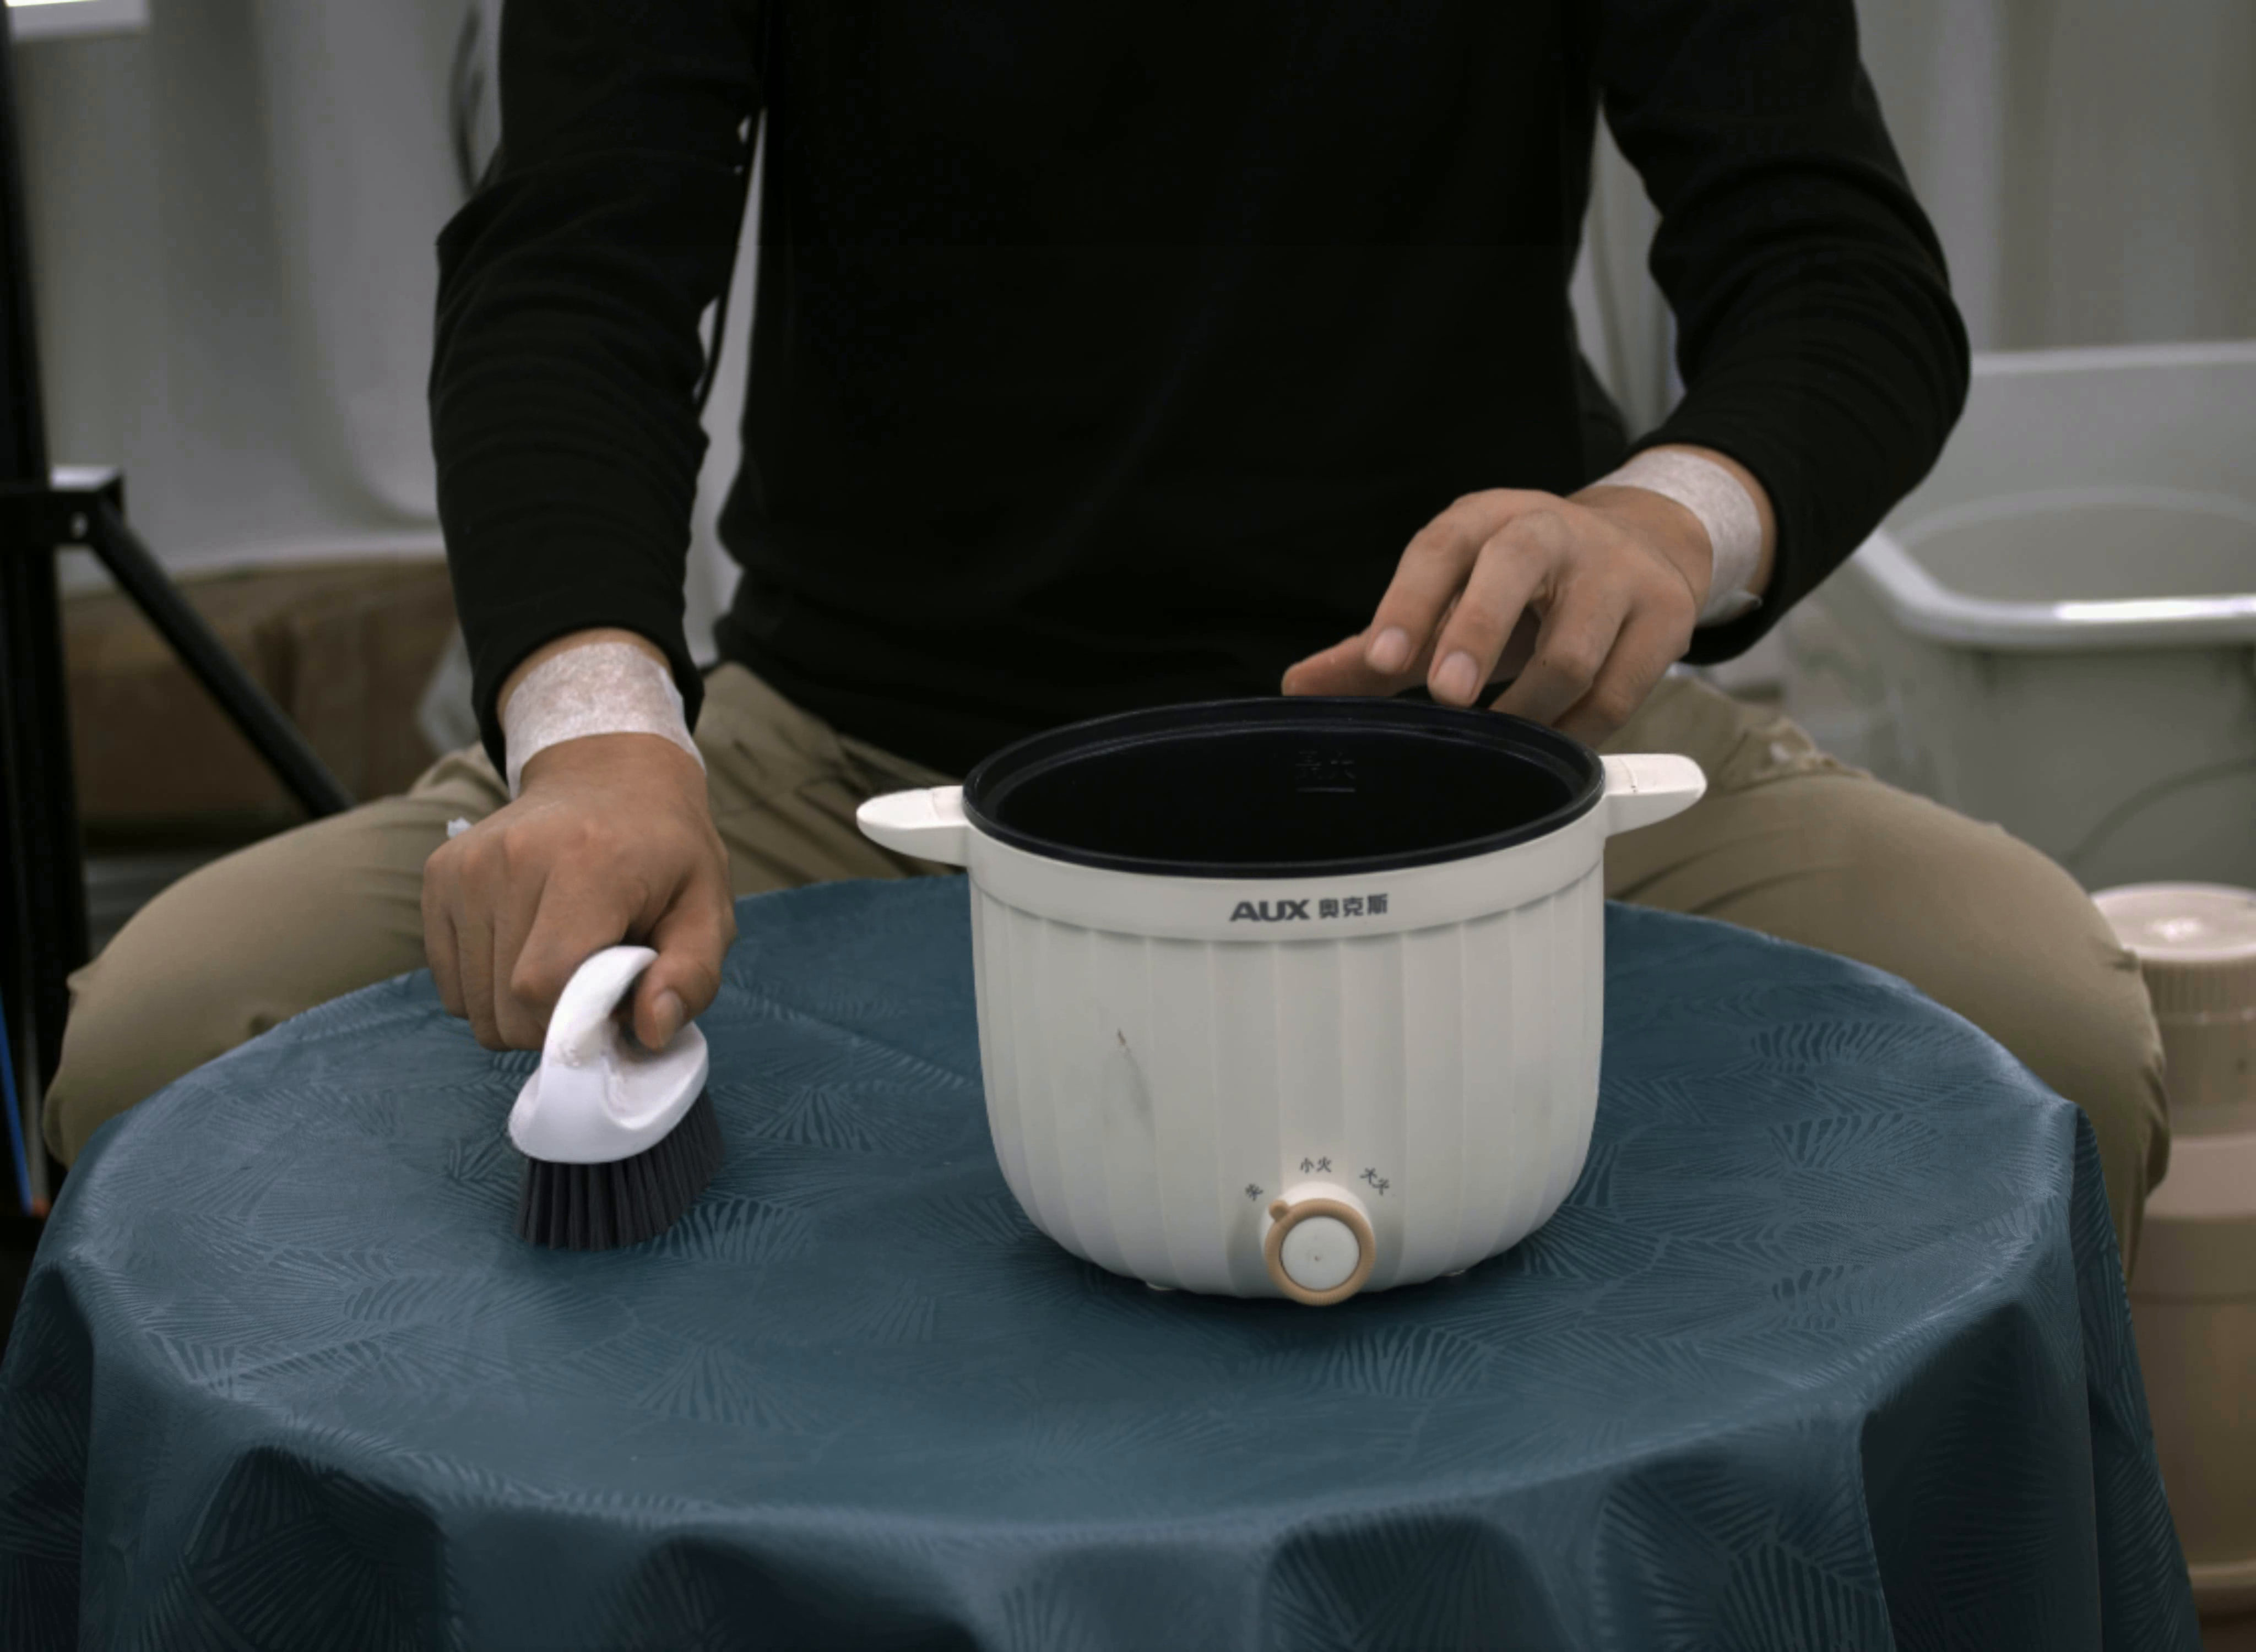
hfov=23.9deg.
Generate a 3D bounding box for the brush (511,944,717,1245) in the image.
[{"bbox_3d":[-0.152,0.074,1.569,0.050,0.072,0.099,1,17,11],"label":"brush"}]

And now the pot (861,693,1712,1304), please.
[{"bbox_3d":[0.048,0.051,1.498,0.239,0.143,0.191,-4,13,-1],"label":"pot"}]
